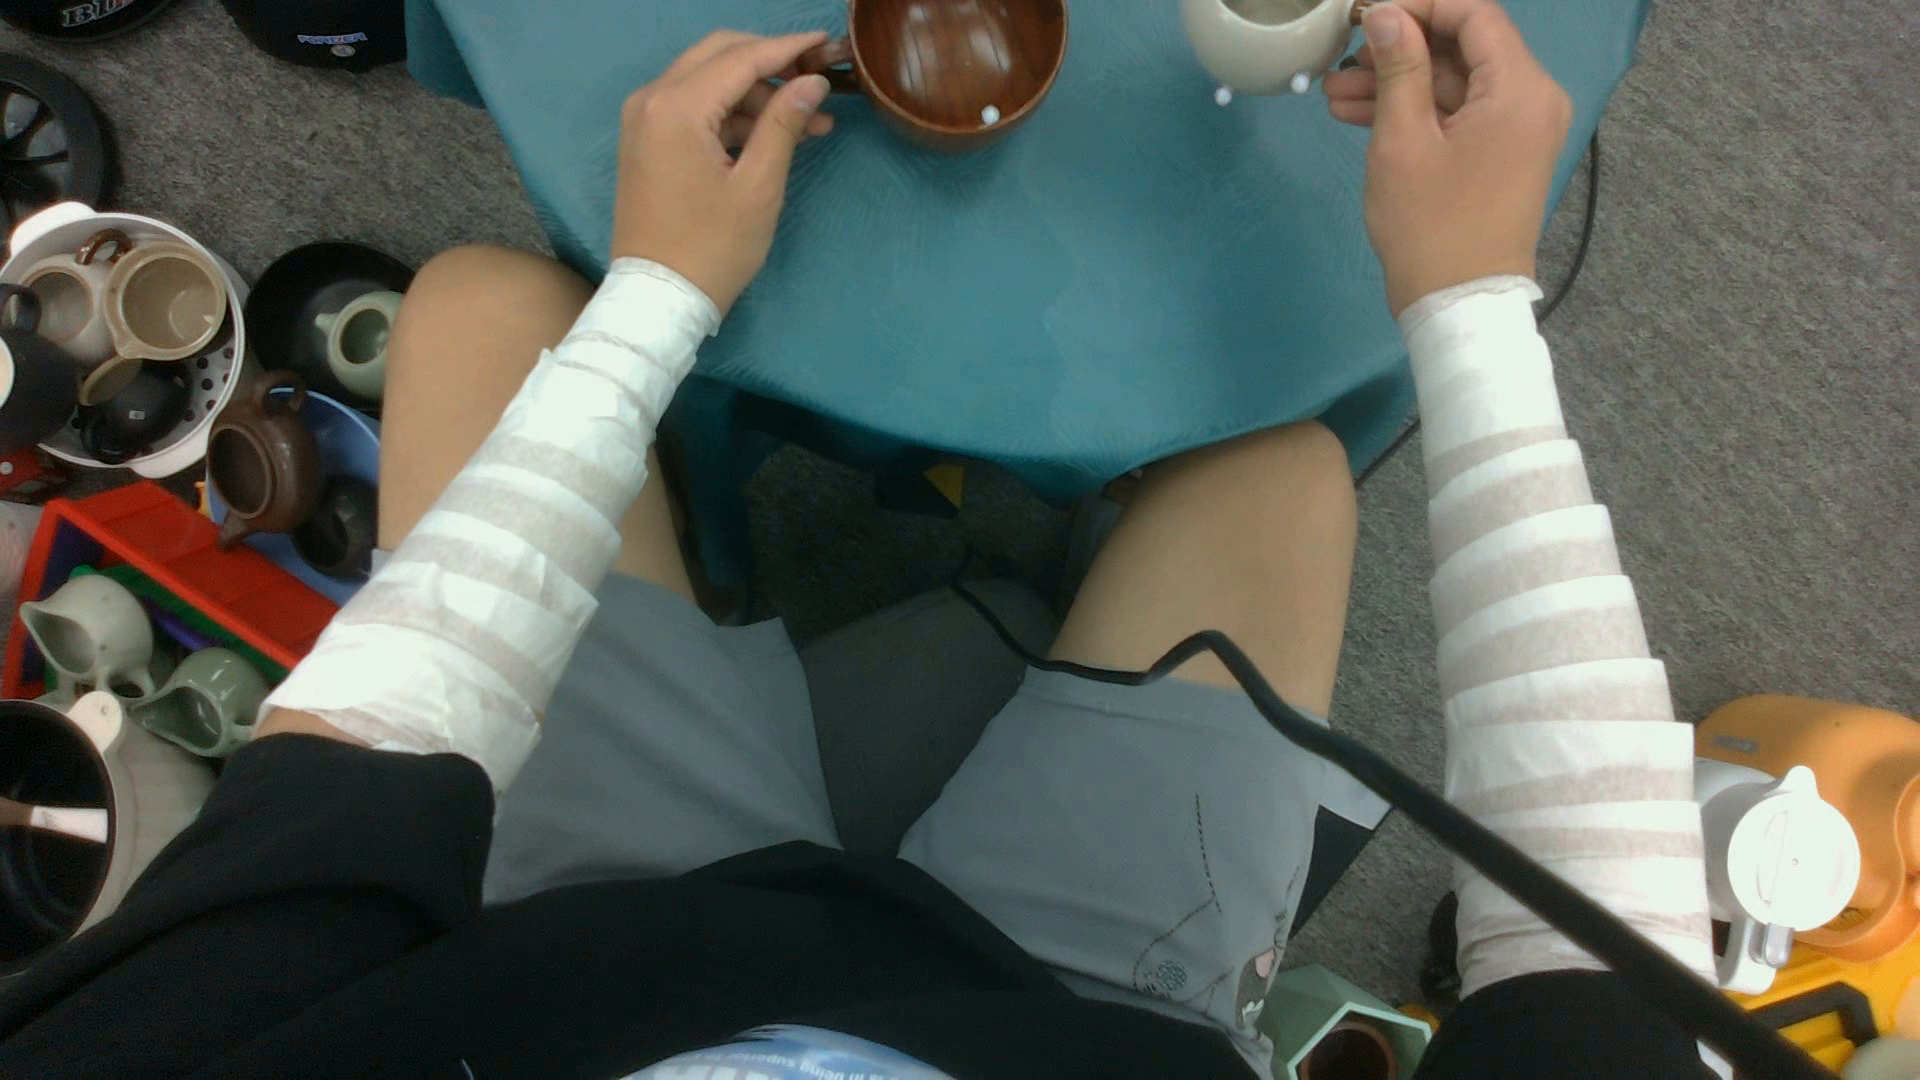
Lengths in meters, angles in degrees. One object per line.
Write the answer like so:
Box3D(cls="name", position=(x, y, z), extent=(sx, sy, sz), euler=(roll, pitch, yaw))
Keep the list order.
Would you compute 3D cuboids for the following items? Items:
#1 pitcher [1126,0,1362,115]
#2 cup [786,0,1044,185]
Box3D(cls="pitcher", position=(0.120, -0.220, 0.596), extent=(0.119, 0.088, 0.075), euler=(29, 99, 15))
Box3D(cls="cup", position=(-0.023, -0.208, 0.642), extent=(0.119, 0.068, 0.096), euler=(-17, 91, -3))
